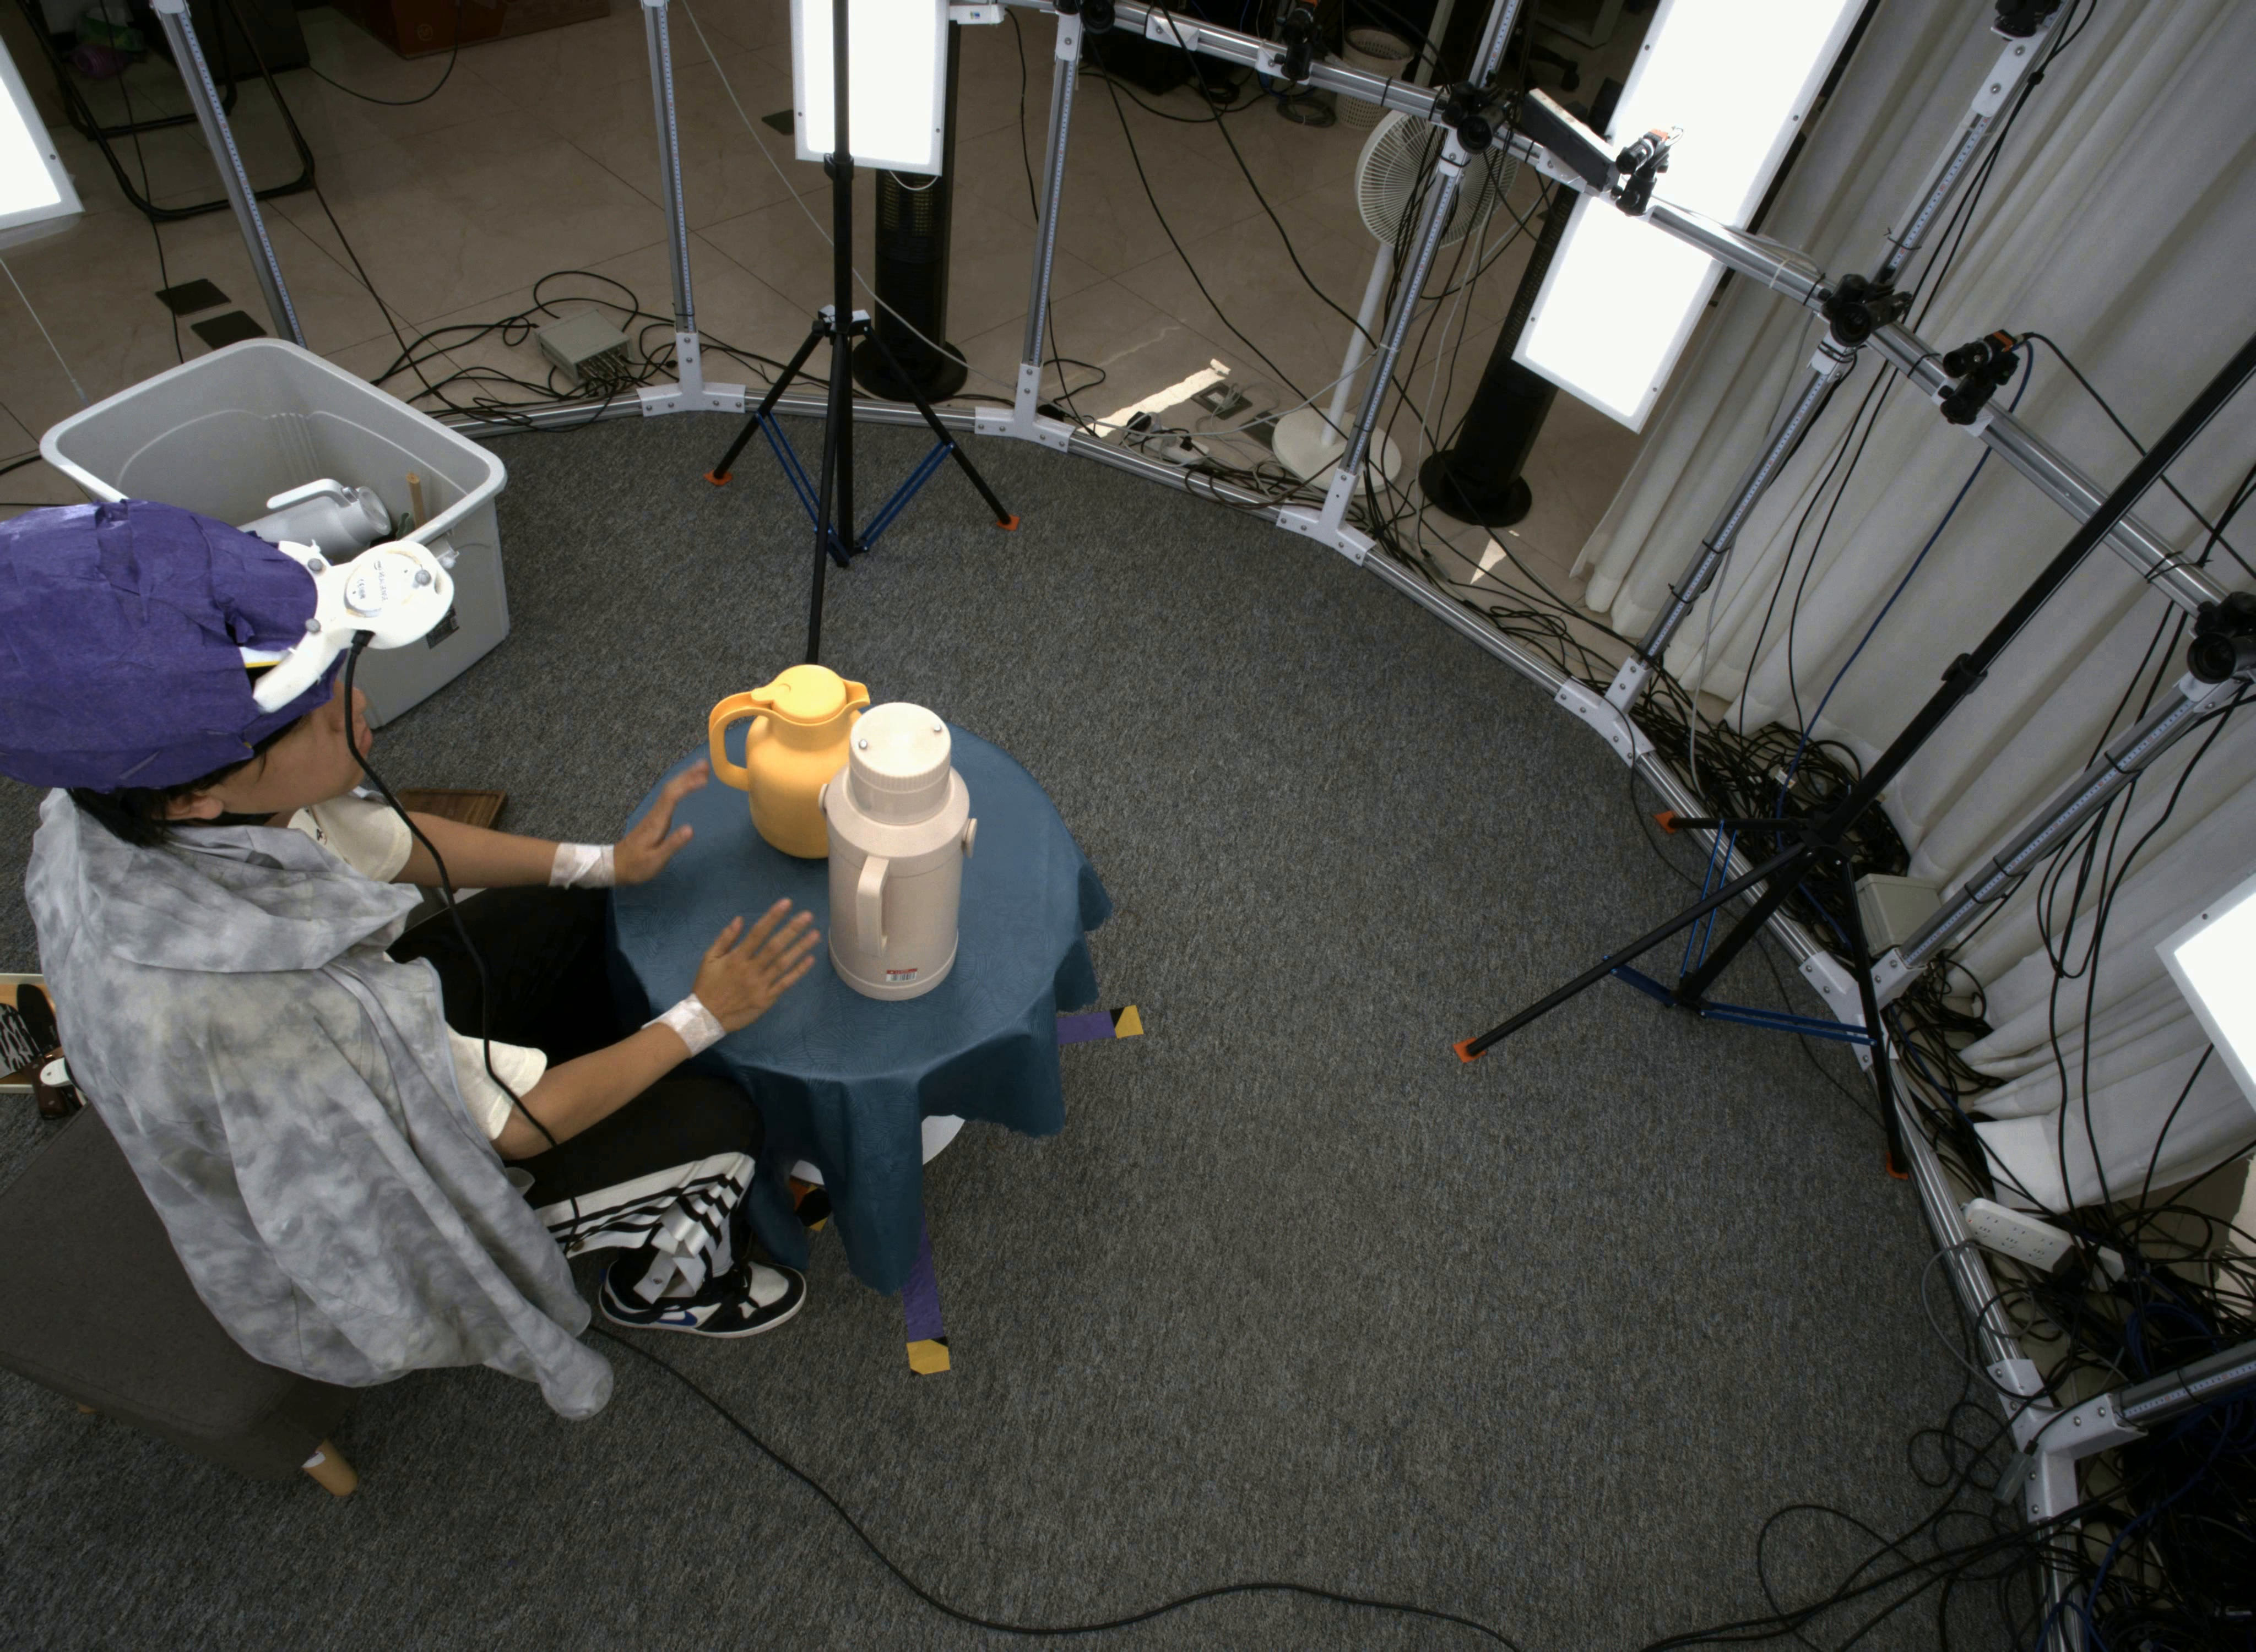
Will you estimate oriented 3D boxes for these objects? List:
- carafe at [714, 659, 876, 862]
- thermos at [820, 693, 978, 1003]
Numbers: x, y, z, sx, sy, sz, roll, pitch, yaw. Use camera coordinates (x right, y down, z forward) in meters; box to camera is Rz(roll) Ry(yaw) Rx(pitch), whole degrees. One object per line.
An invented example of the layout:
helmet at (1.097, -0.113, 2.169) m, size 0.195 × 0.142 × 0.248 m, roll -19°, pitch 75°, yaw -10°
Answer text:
carafe at (-0.412, -0.087, 1.625) m, size 0.203 × 0.266 × 0.159 m, roll -4°, pitch 51°, yaw -16°
thermos at (-0.266, 0.040, 1.479) m, size 0.174 × 0.415 × 0.204 m, roll 13°, pitch 50°, yaw -1°
